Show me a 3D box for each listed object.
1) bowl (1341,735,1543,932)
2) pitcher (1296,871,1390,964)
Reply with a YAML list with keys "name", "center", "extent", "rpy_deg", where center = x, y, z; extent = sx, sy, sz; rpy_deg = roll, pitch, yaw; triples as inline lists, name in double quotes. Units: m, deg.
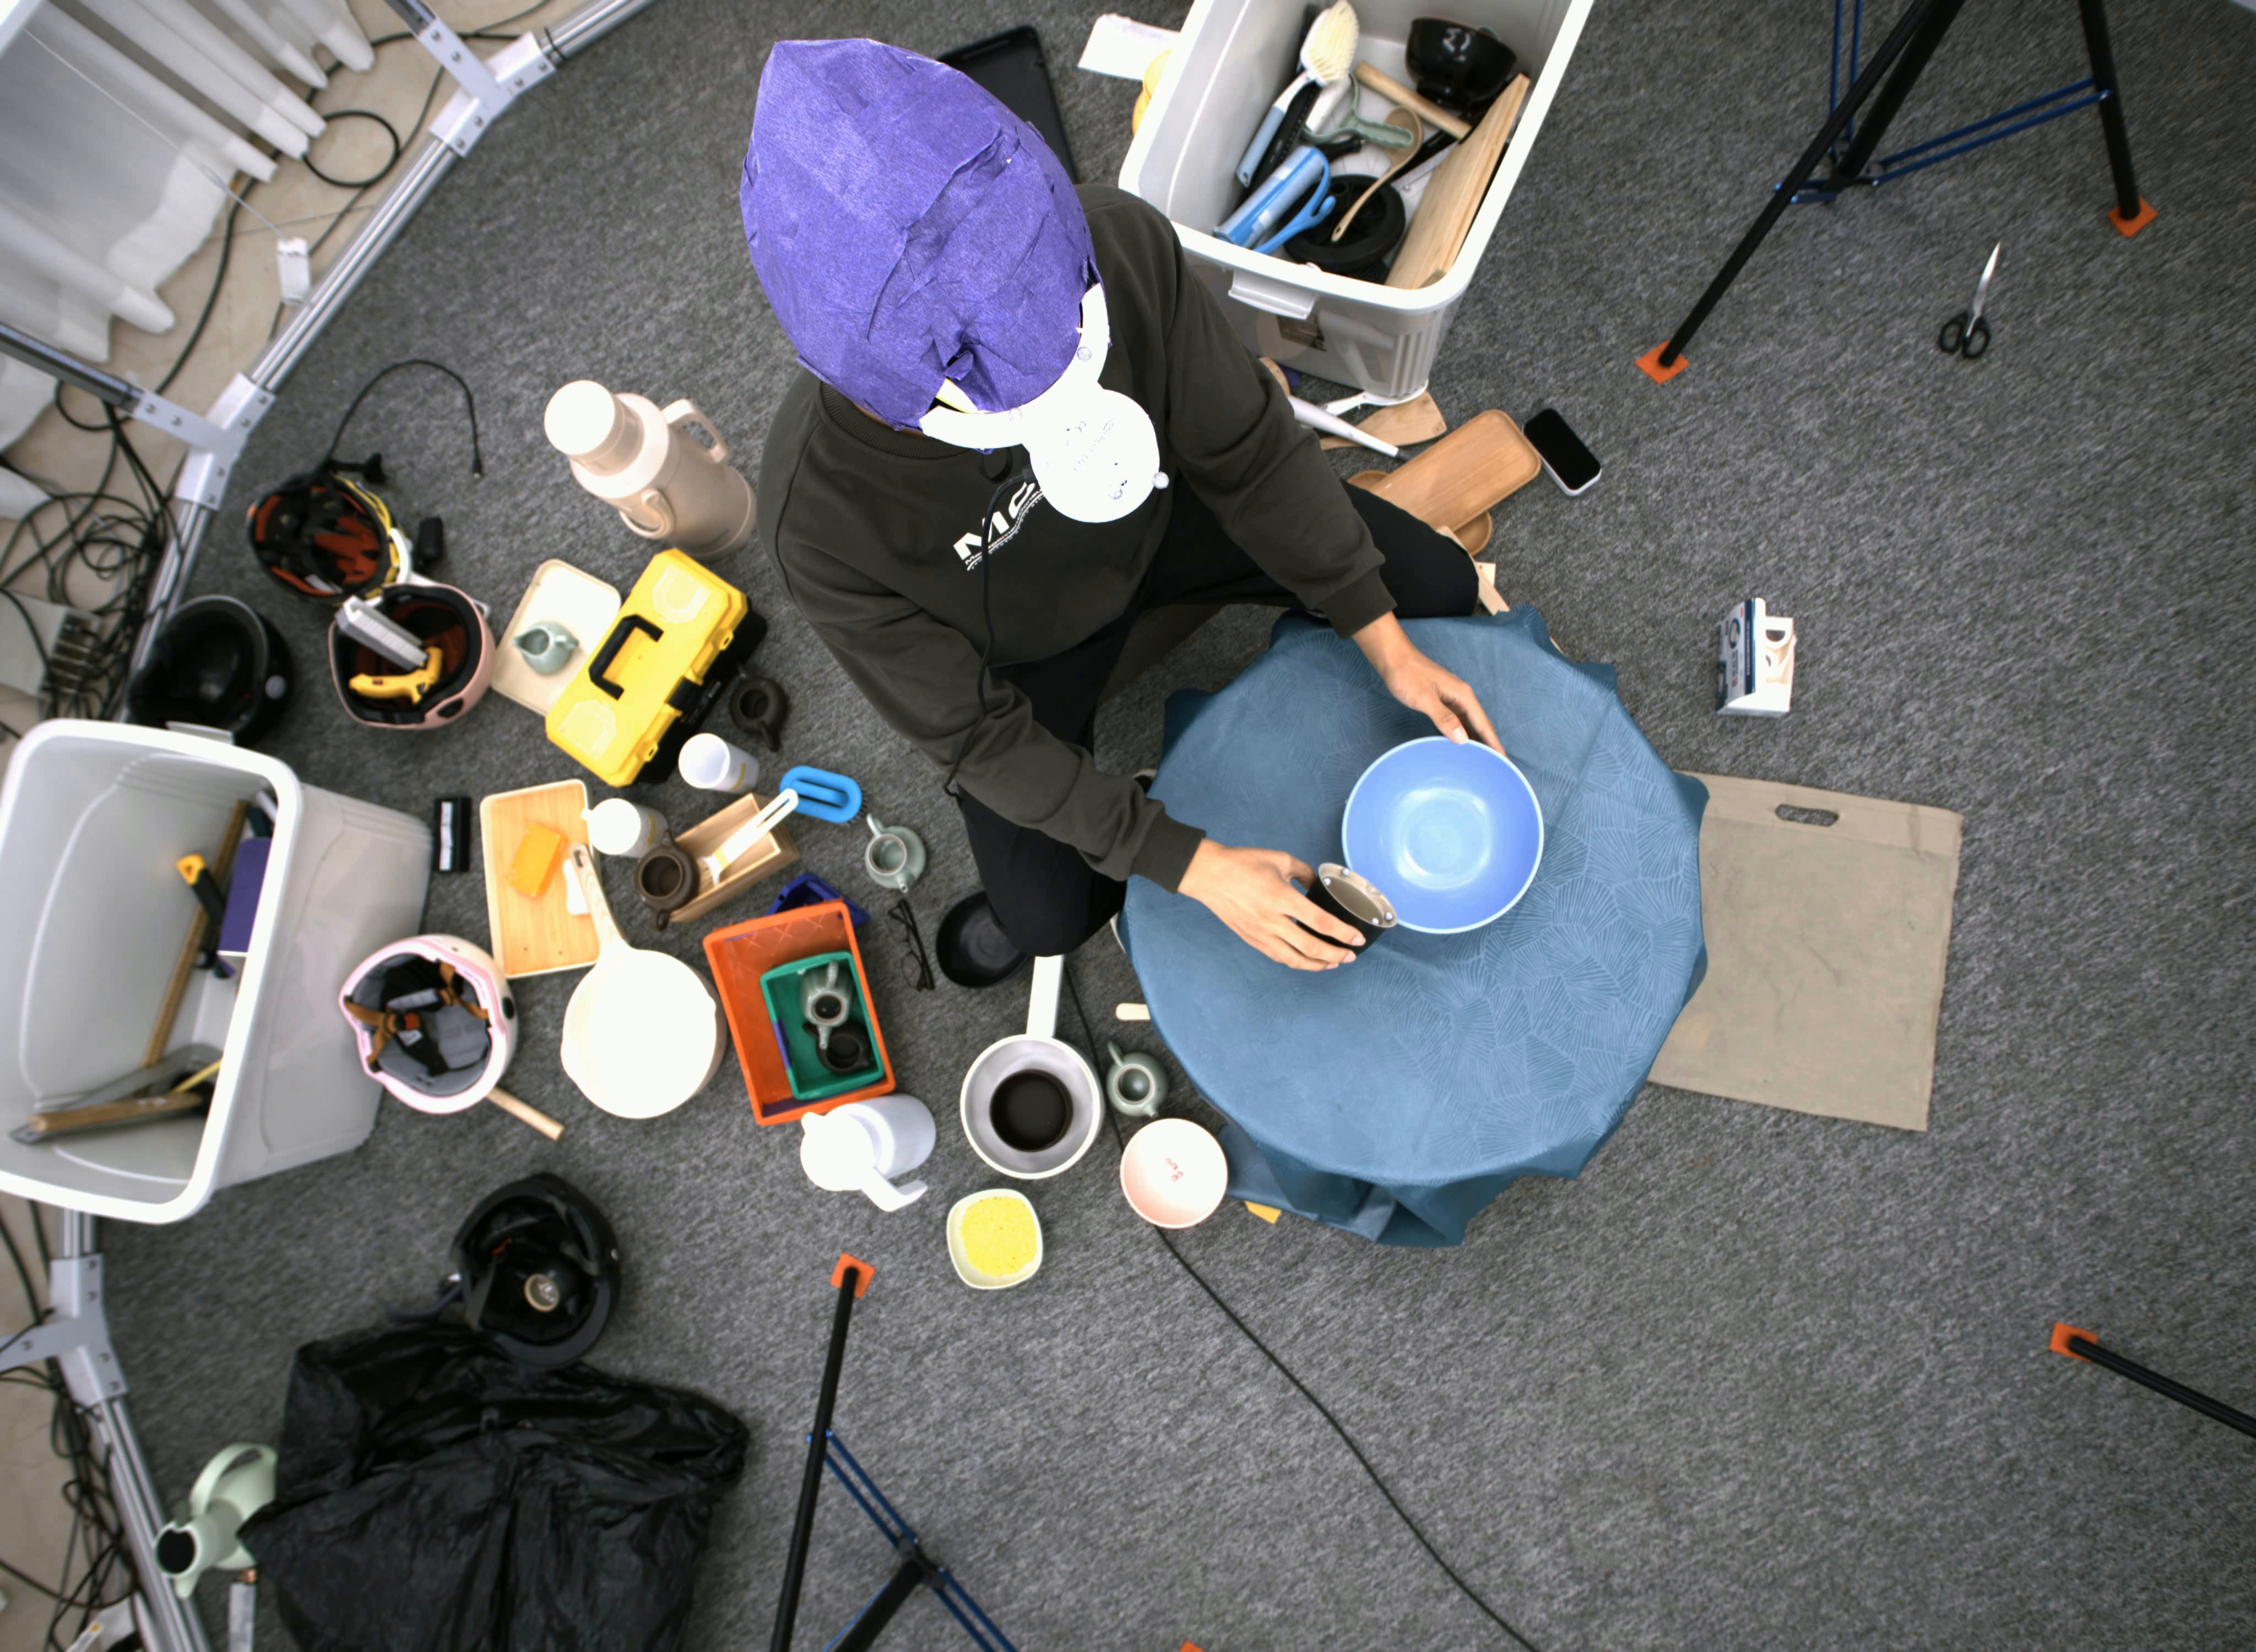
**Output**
- name: "bowl"
  center: [0.320, 0.010, 1.405]
  extent: [0.197, 0.095, 0.195]
  rpy_deg: [-1, 87, 14]
- name: "pitcher"
  center: [0.207, 0.090, 1.352]
  extent: [0.083, 0.095, 0.073]
  rpy_deg: [42, 117, 19]
